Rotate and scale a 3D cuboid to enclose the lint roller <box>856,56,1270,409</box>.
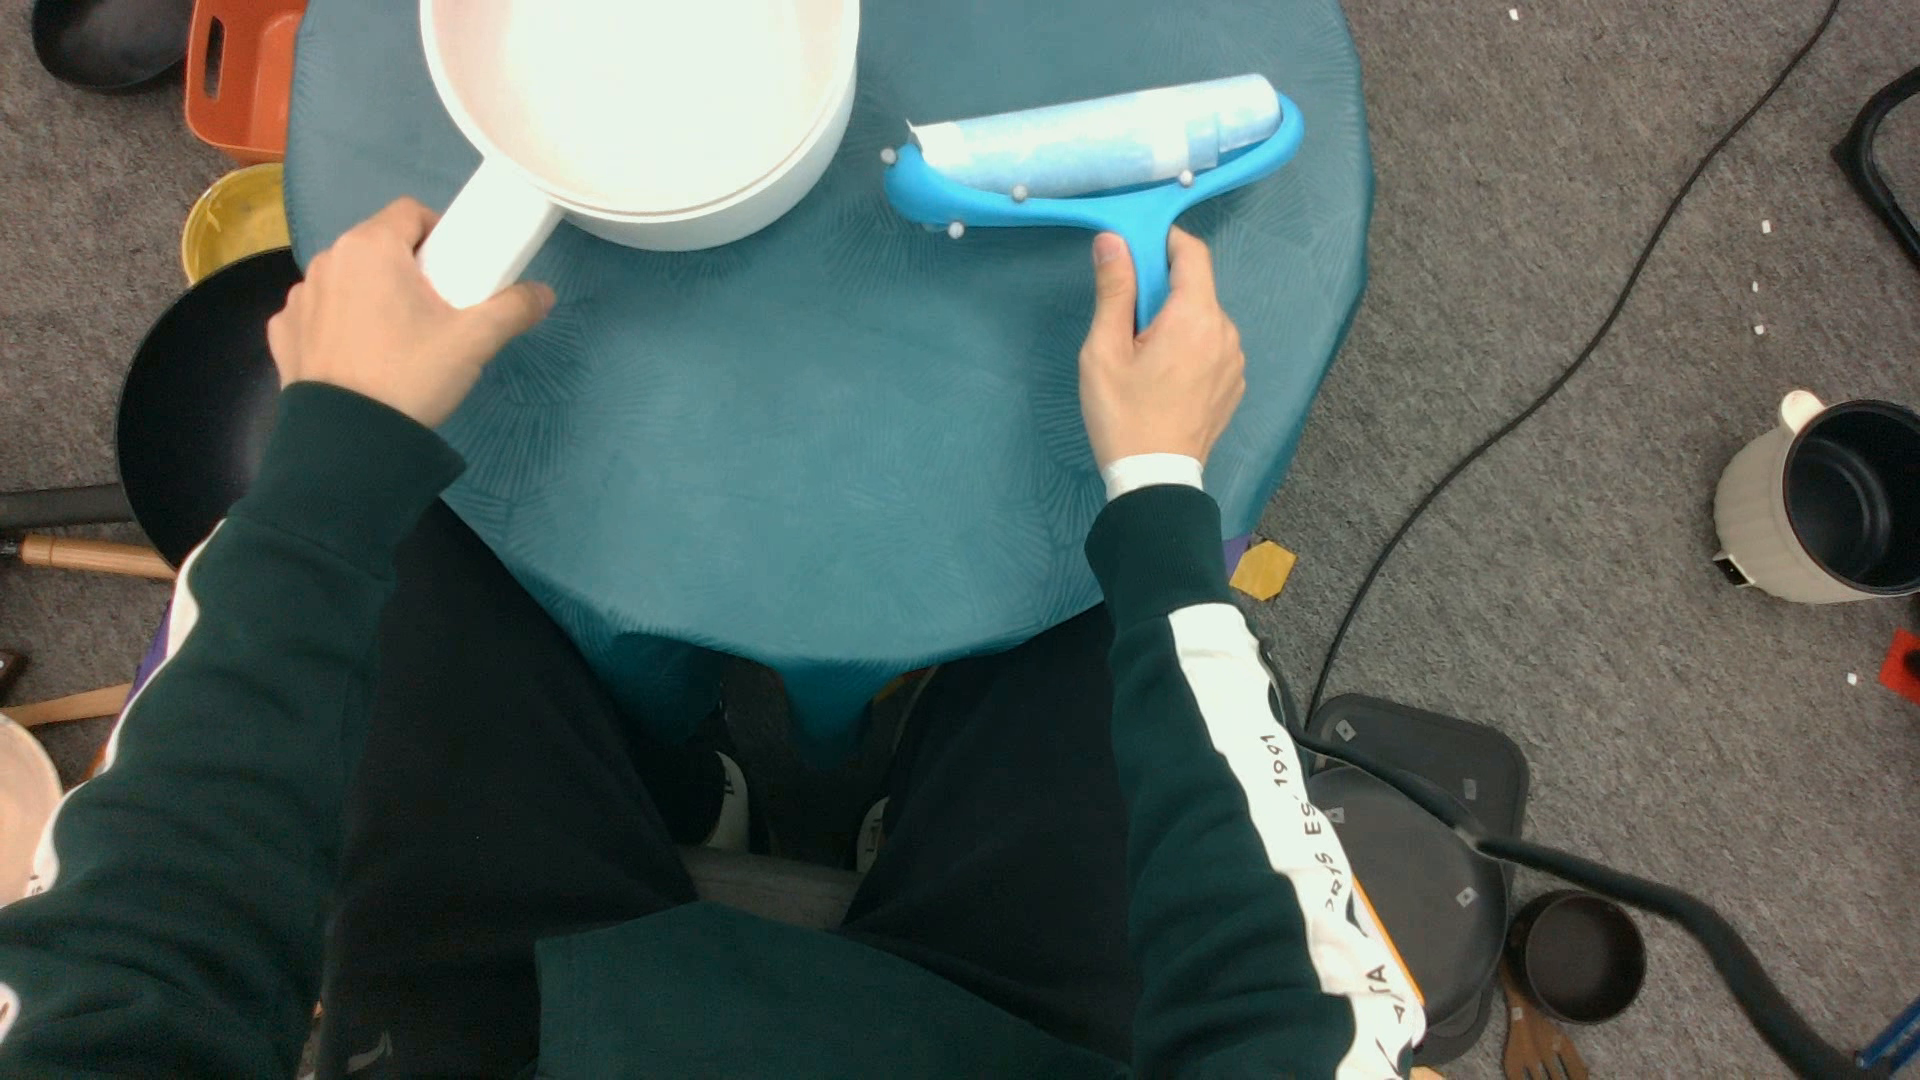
[{"bbox_3d":[0.076,-0.161,0.717,0.229,0.067,0.180,-16,73,-14],"label":"lint roller"}]

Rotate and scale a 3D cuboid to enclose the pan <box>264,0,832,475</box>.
[{"bbox_3d":[-0.206,-0.185,0.683,0.201,0.102,0.355,34,87,-2],"label":"pan"}]
